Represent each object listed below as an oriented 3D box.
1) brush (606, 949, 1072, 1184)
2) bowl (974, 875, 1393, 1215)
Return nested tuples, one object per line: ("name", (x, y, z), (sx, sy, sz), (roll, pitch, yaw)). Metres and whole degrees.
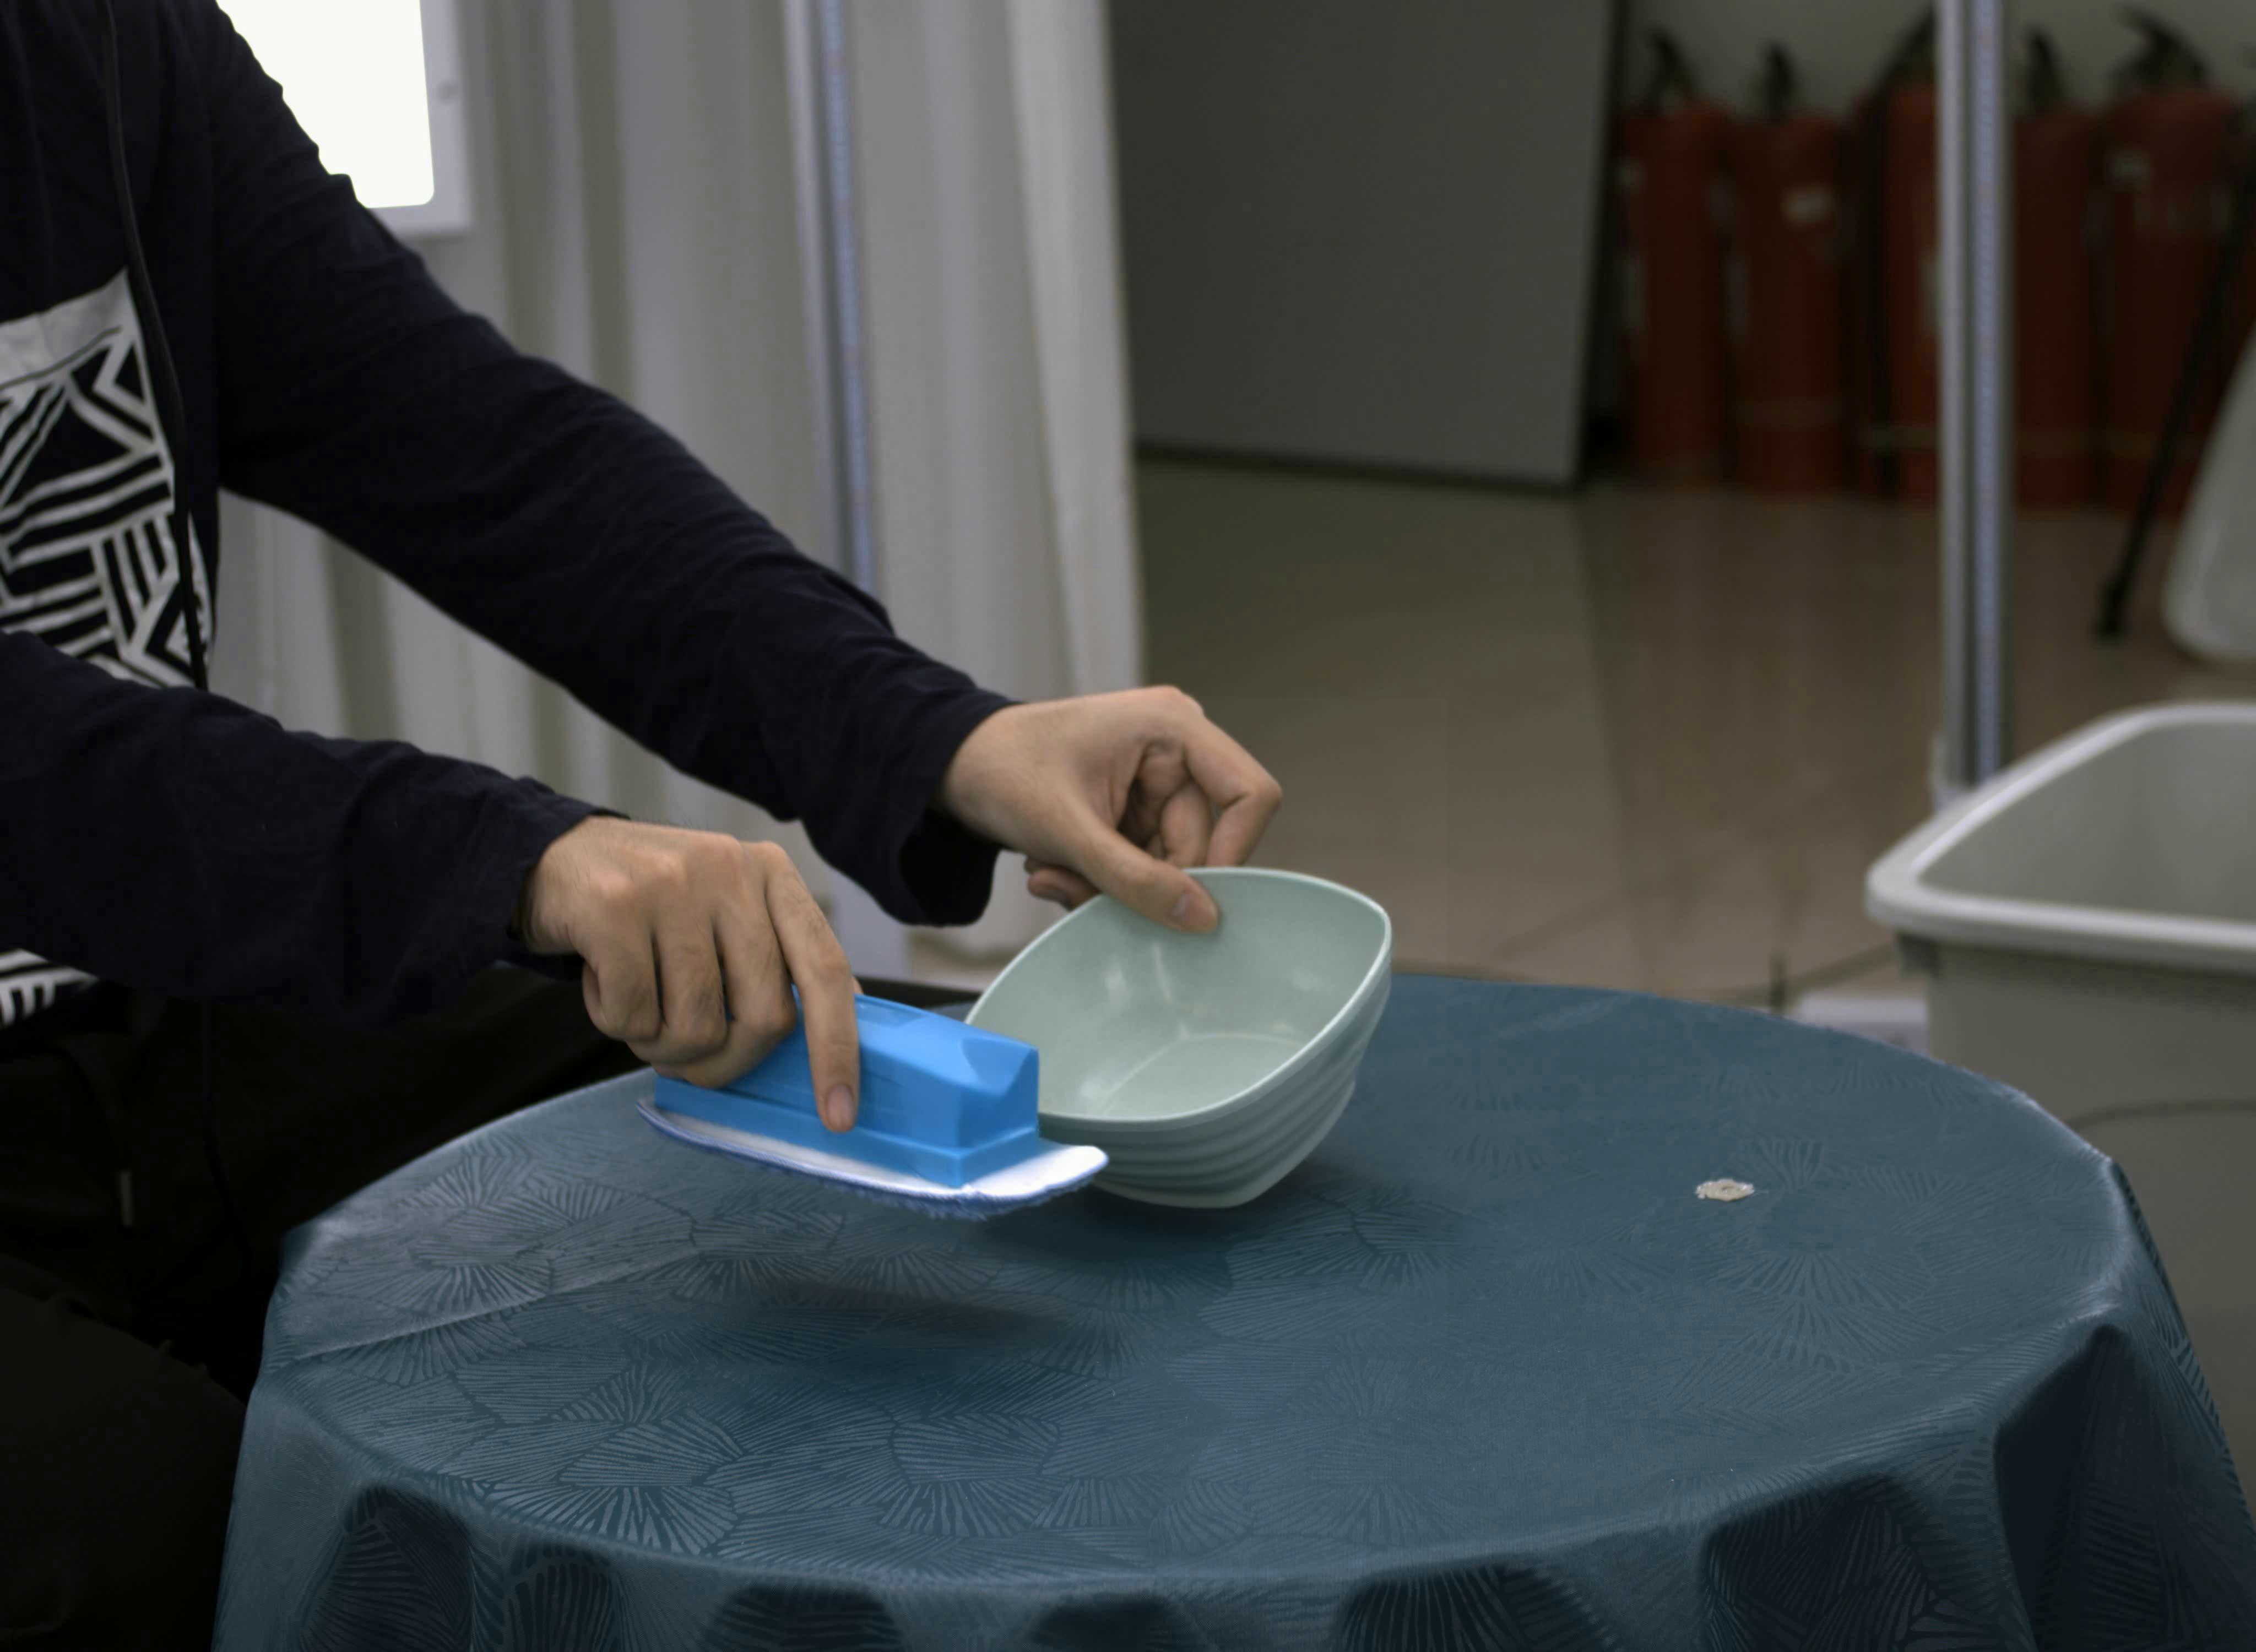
("brush", (-0.087, 0.073, 1.662), (0.145, 0.056, 0.082), (15, 12, 36))
("bowl", (0.022, 0.079, 1.773), (0.150, 0.059, 0.152), (-16, 28, 8))
